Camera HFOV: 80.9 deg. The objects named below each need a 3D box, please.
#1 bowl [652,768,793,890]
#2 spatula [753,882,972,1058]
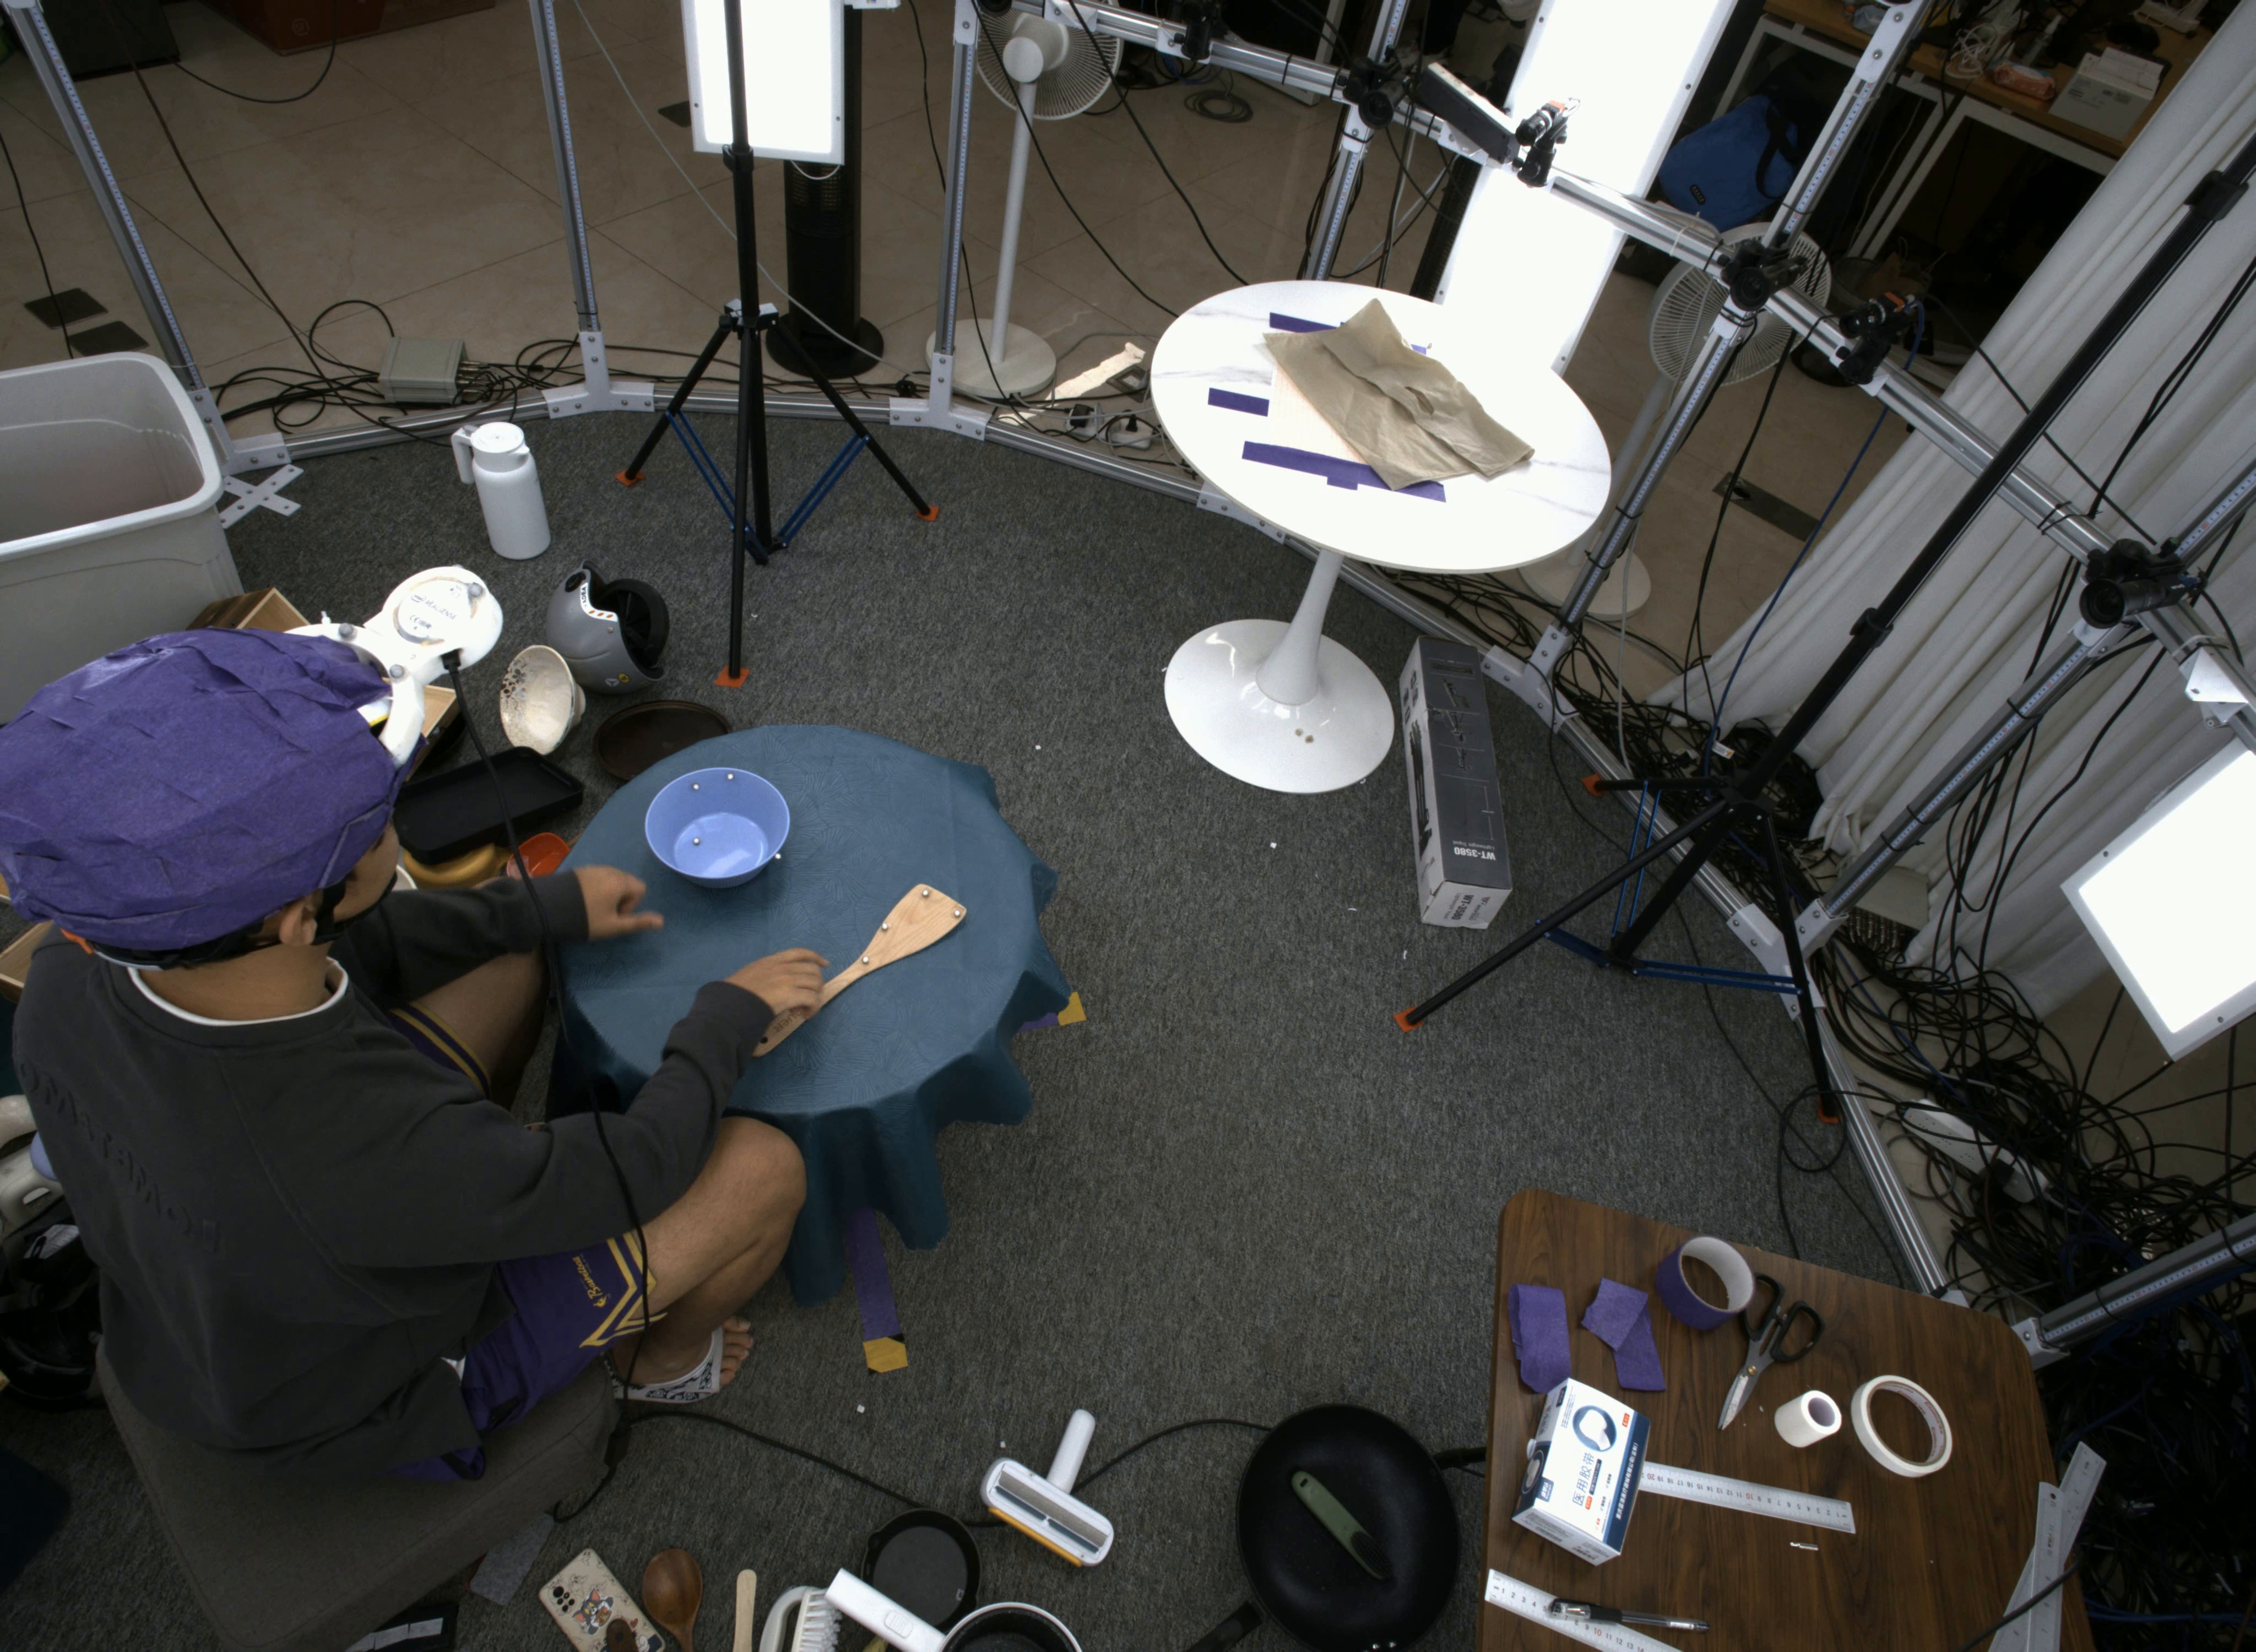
[{"bbox_3d":[-0.516,0.013,1.650,0.176,0.072,0.173,8,52,-8],"label":"bowl"},{"bbox_3d":[-0.333,0.176,1.611,0.078,0.017,0.328,40,55,15],"label":"spatula"}]
